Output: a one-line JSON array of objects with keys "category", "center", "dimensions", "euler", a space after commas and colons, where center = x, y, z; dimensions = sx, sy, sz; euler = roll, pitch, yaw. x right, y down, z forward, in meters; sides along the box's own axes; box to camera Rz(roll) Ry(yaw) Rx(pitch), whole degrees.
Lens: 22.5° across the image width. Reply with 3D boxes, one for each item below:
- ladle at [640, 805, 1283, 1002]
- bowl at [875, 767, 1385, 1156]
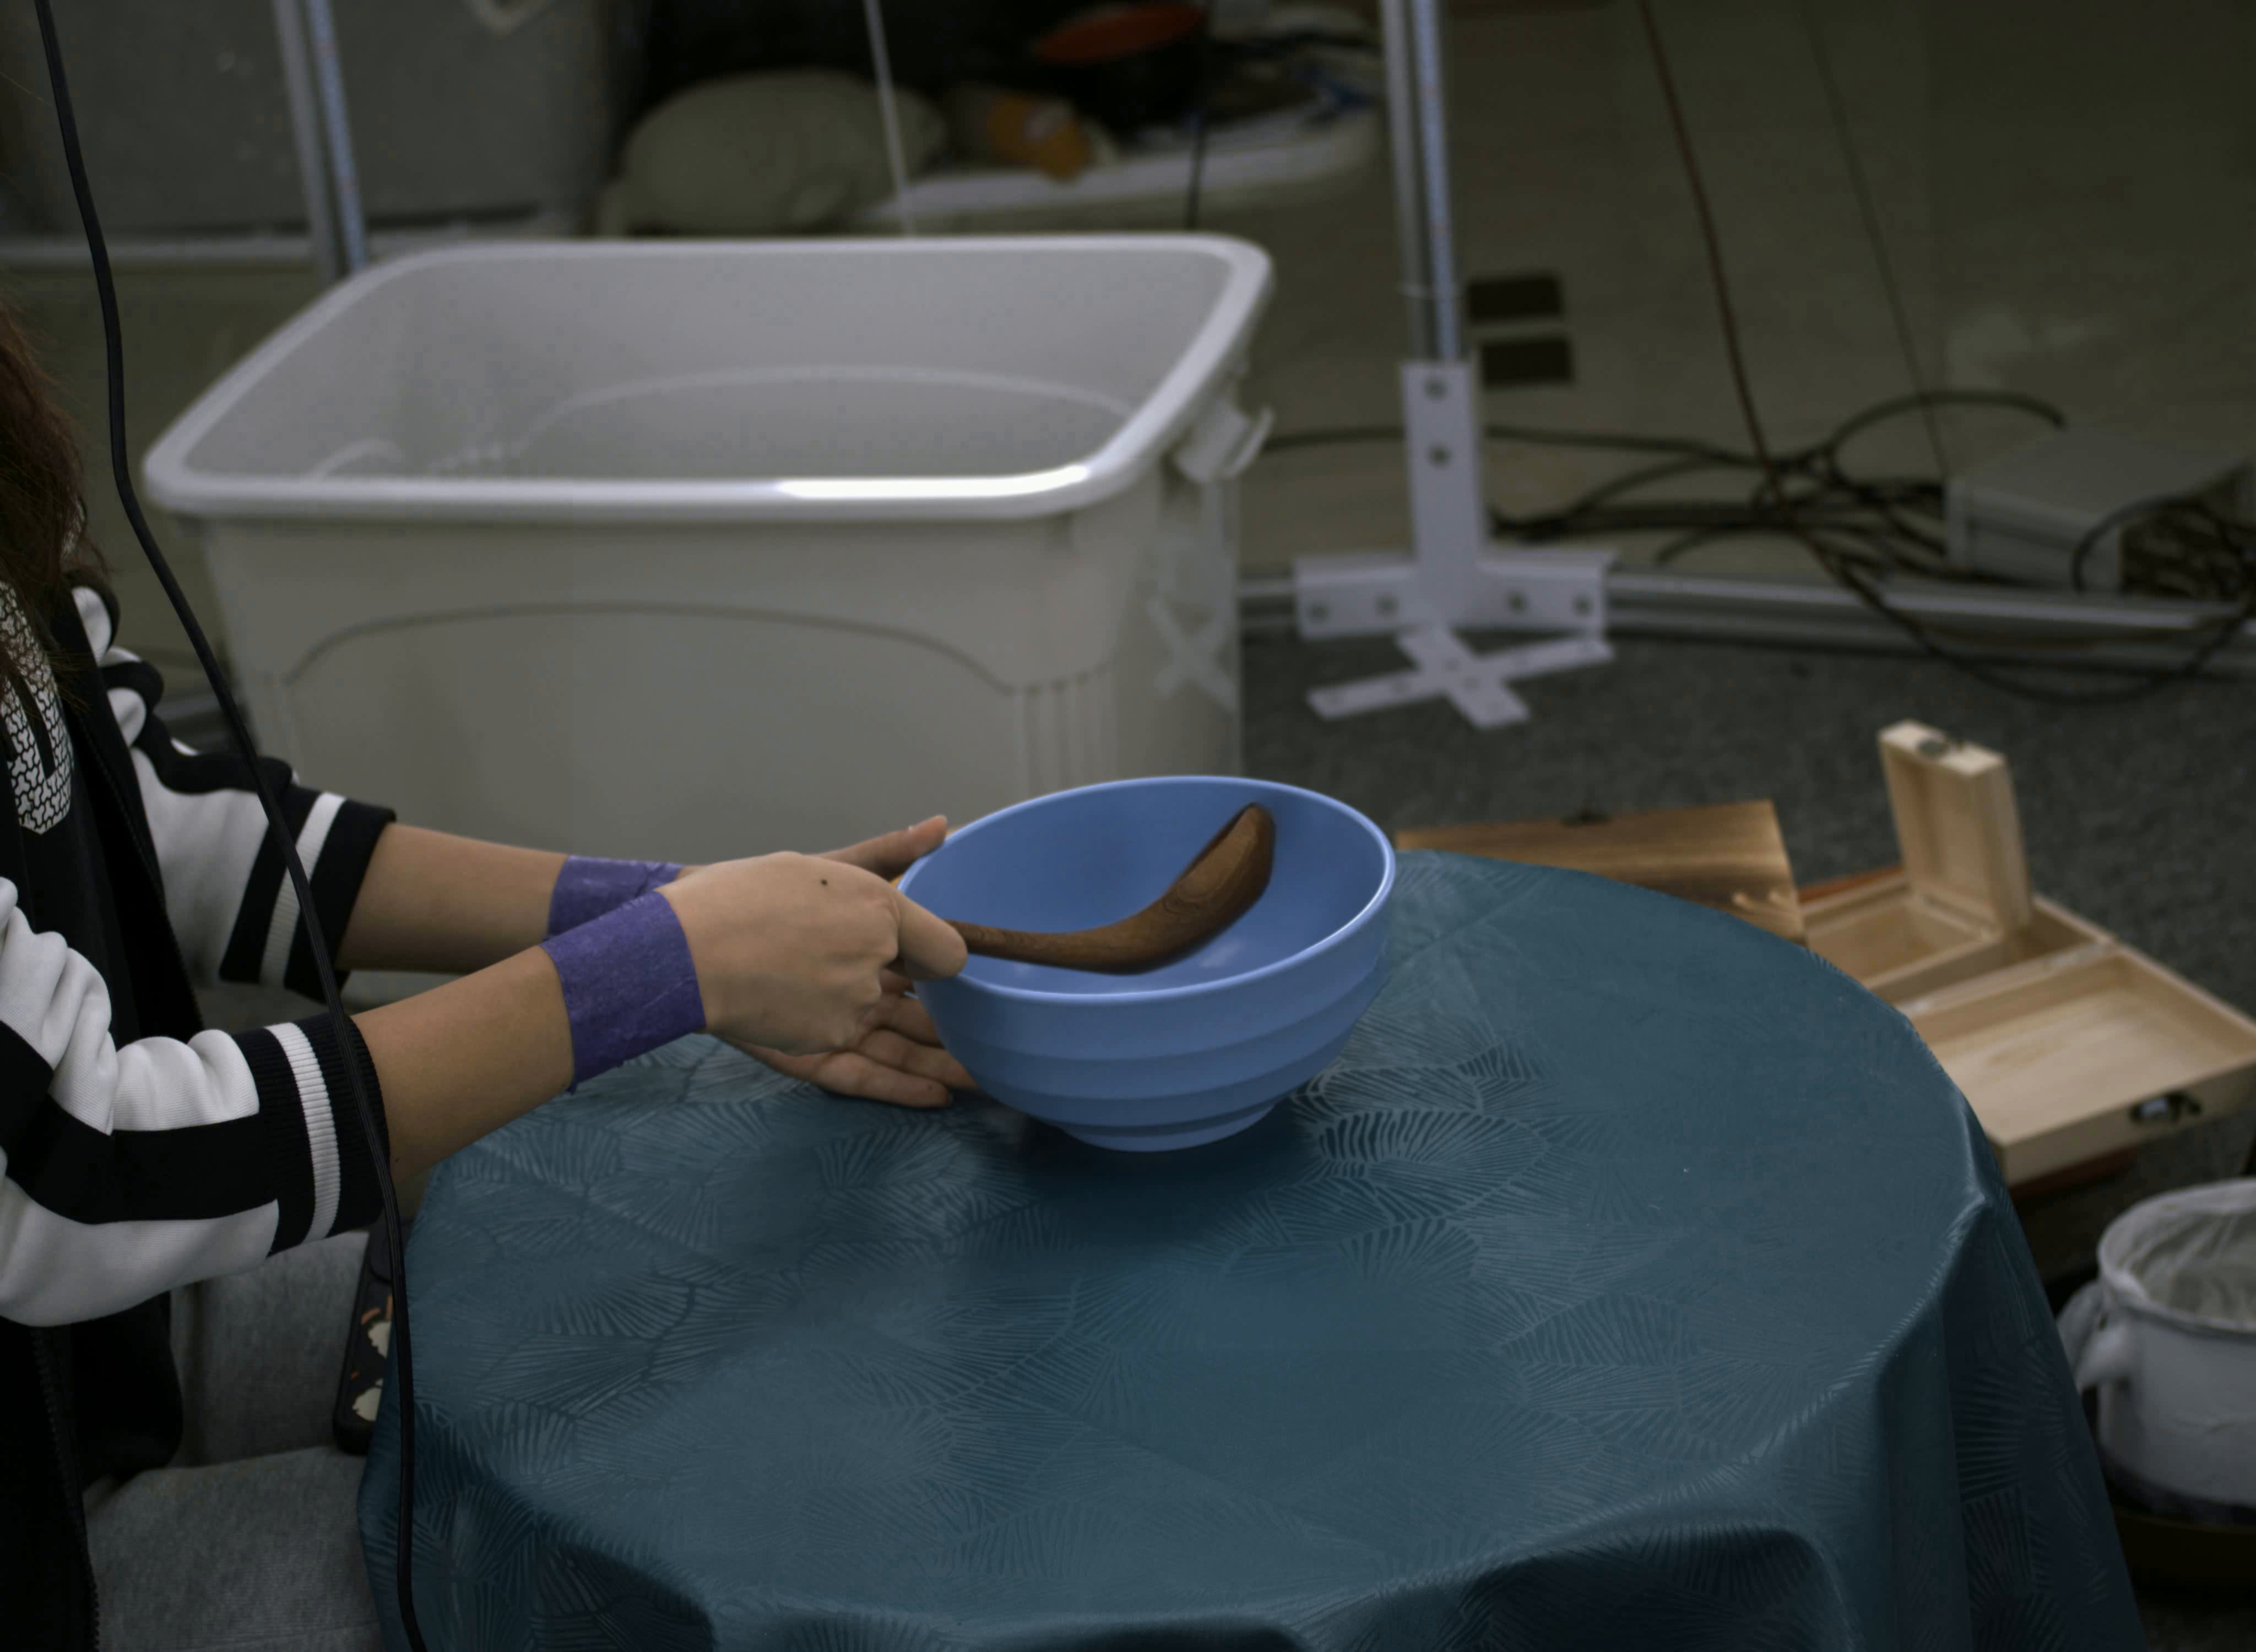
[{"category": "ladle", "center": [-0.062, 0.030, 2.123], "dimensions": [0.260, 0.077, 0.064], "euler": [-2, 66, -22]}, {"category": "bowl", "center": [0.002, 0.064, 2.197], "dimensions": [0.196, 0.097, 0.193], "euler": [-2, 30, 1]}]
